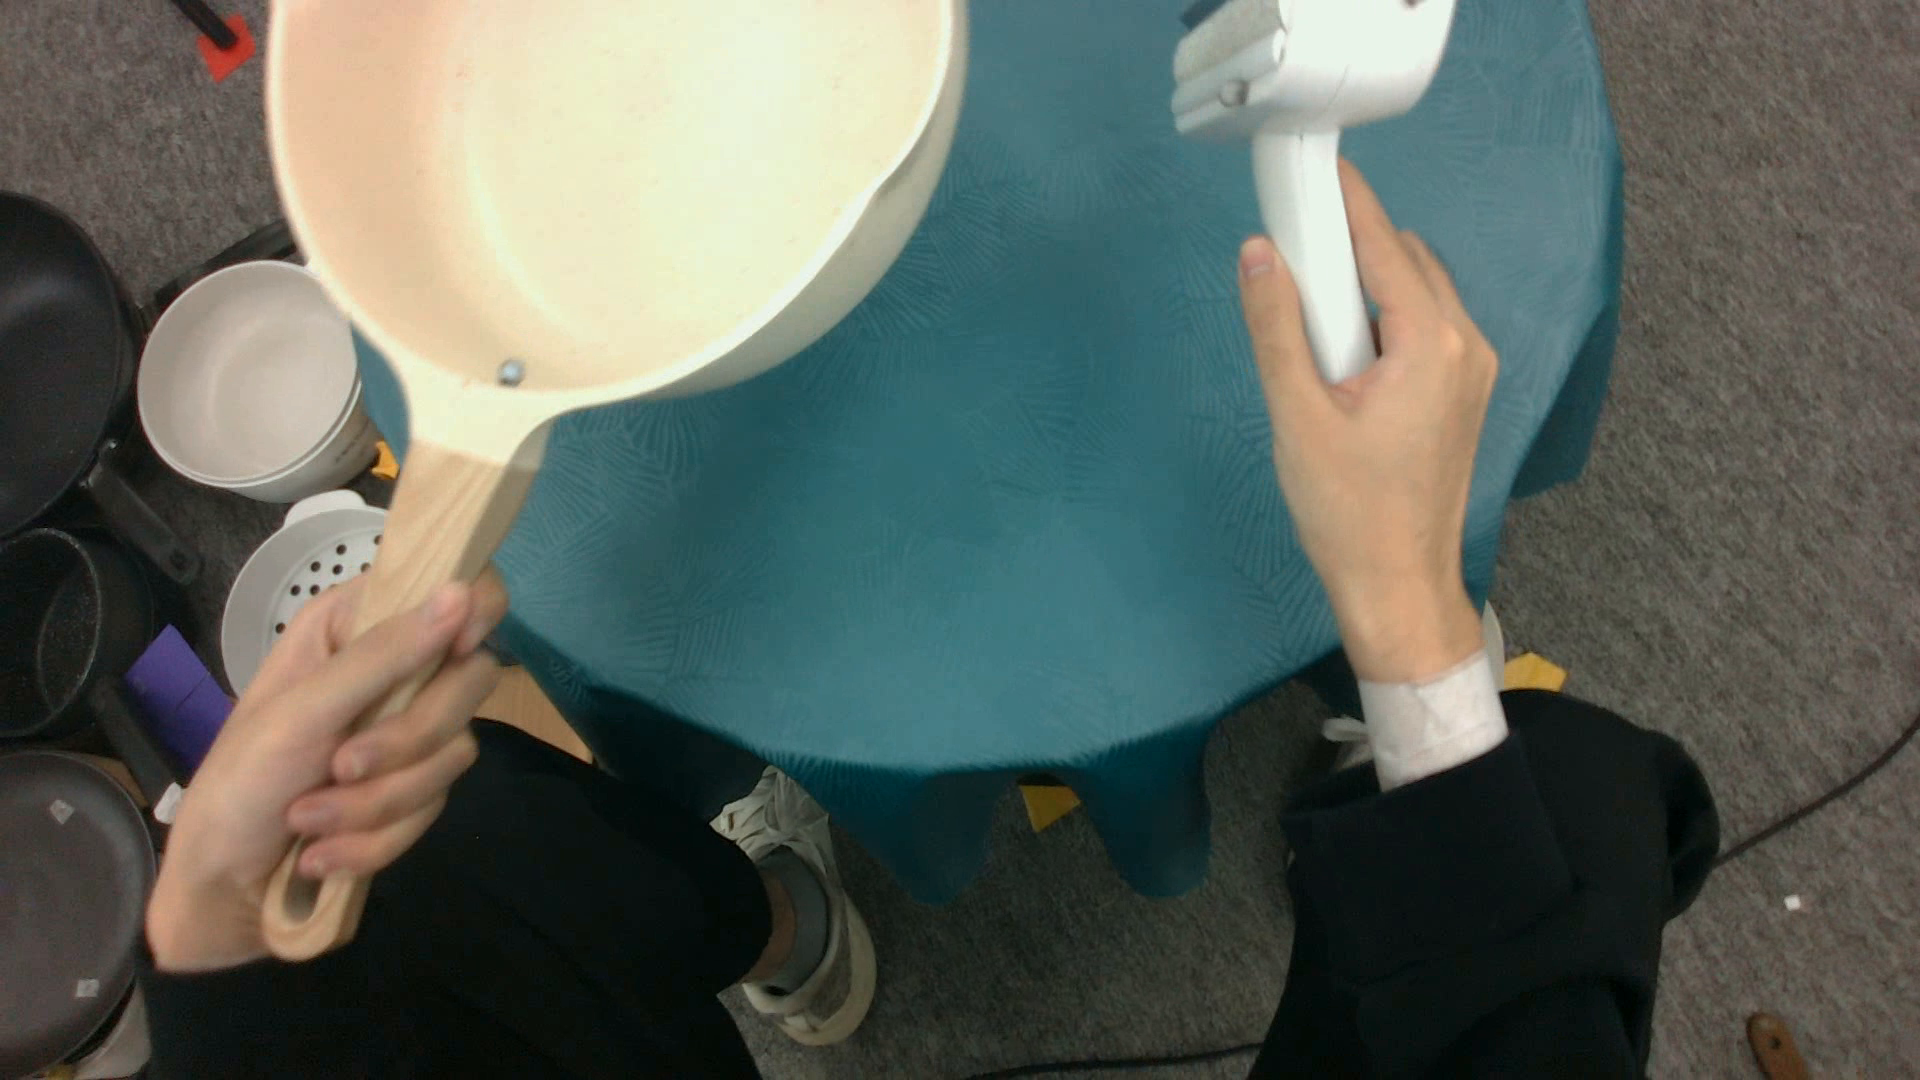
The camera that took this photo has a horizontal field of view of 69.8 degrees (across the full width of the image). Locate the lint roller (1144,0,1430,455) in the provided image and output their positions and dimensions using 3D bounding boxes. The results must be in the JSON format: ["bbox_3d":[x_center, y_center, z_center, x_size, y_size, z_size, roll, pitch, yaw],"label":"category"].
[{"bbox_3d":[0.111,-0.122,0.478,0.074,0.193,0.192,-5,106,-6],"label":"lint roller"}]

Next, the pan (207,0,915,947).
[{"bbox_3d":[-0.155,-0.080,0.484,0.263,0.102,0.434,14,93,15],"label":"pan"}]
